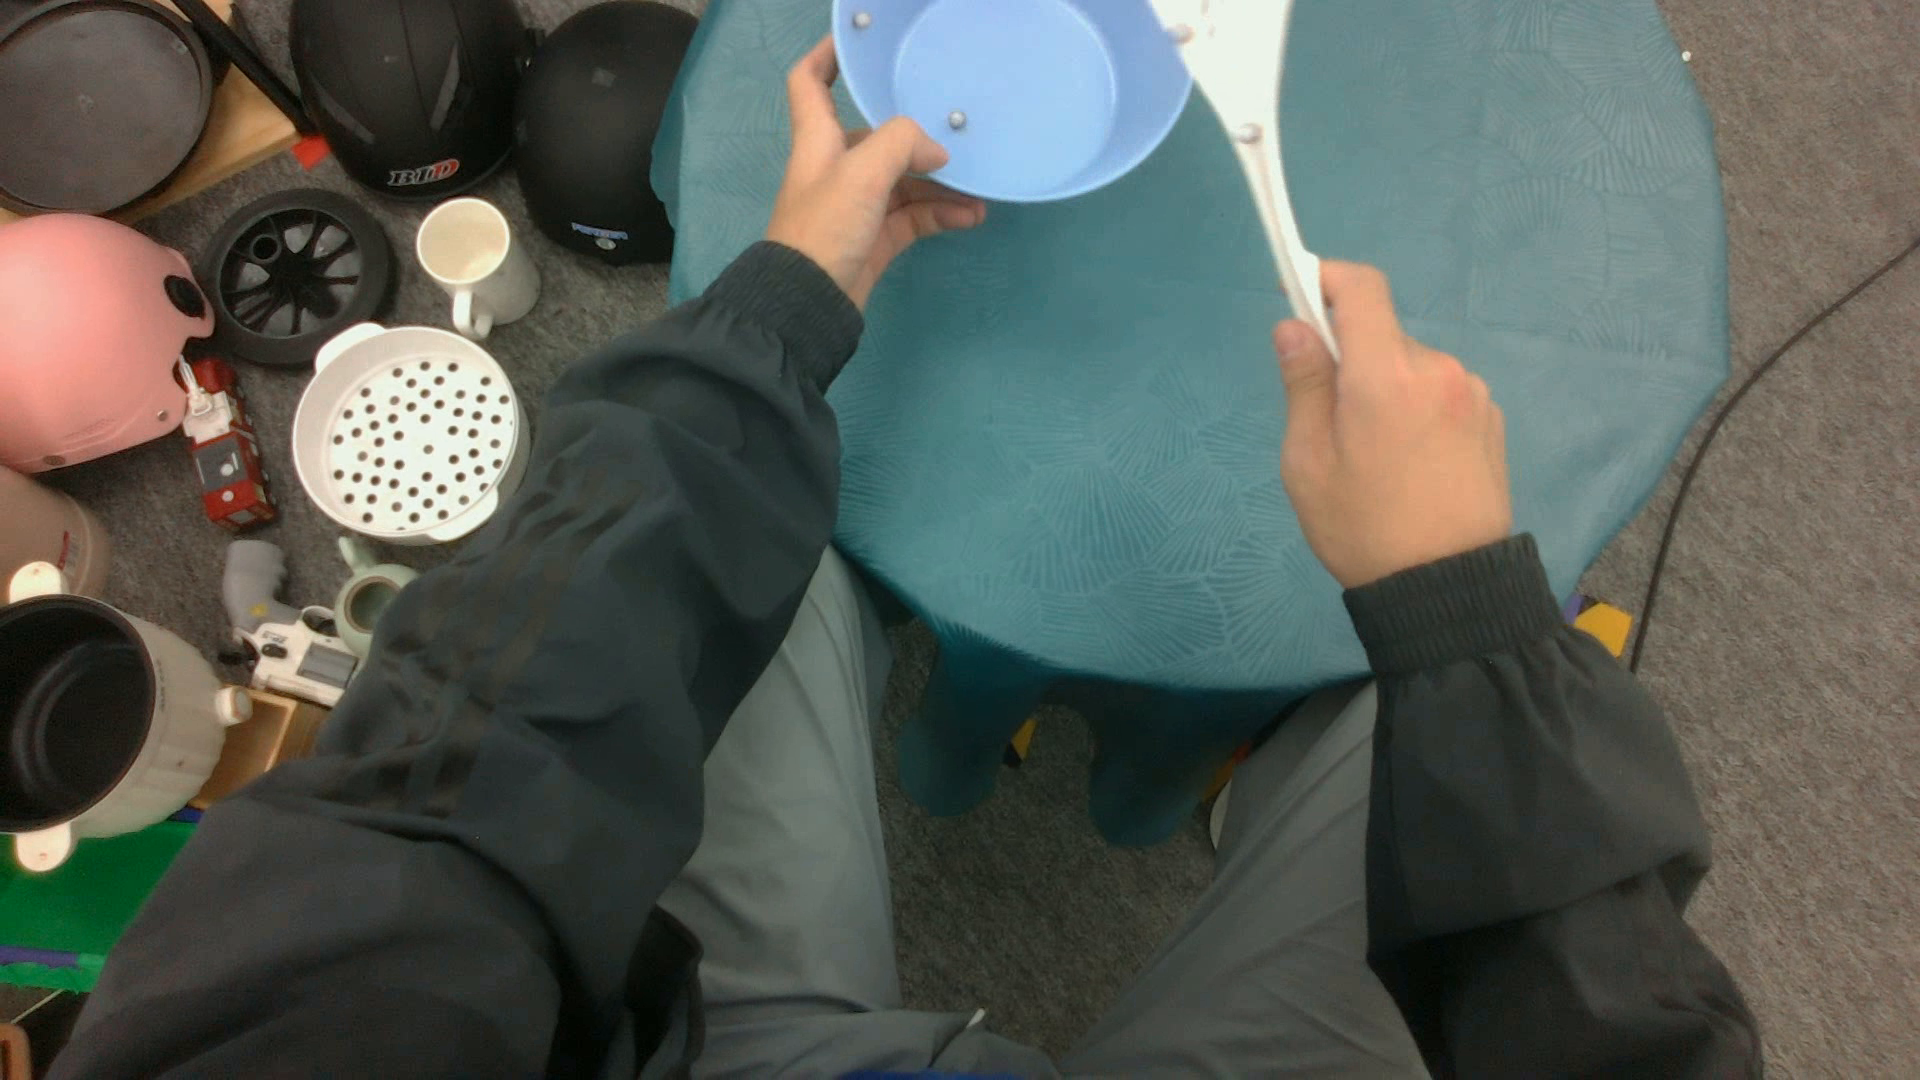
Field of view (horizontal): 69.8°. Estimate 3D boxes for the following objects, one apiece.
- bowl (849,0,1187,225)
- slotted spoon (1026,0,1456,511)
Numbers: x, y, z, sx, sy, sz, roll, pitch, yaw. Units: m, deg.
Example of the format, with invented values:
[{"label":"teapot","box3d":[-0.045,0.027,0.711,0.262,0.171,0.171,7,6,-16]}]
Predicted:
[{"label":"bowl","box3d":[0.030,-0.232,0.708,0.176,0.070,0.176,1,78,-7]},{"label":"slotted spoon","box3d":[0.109,-0.159,0.563,0.050,0.136,0.347,-26,95,-15]}]
